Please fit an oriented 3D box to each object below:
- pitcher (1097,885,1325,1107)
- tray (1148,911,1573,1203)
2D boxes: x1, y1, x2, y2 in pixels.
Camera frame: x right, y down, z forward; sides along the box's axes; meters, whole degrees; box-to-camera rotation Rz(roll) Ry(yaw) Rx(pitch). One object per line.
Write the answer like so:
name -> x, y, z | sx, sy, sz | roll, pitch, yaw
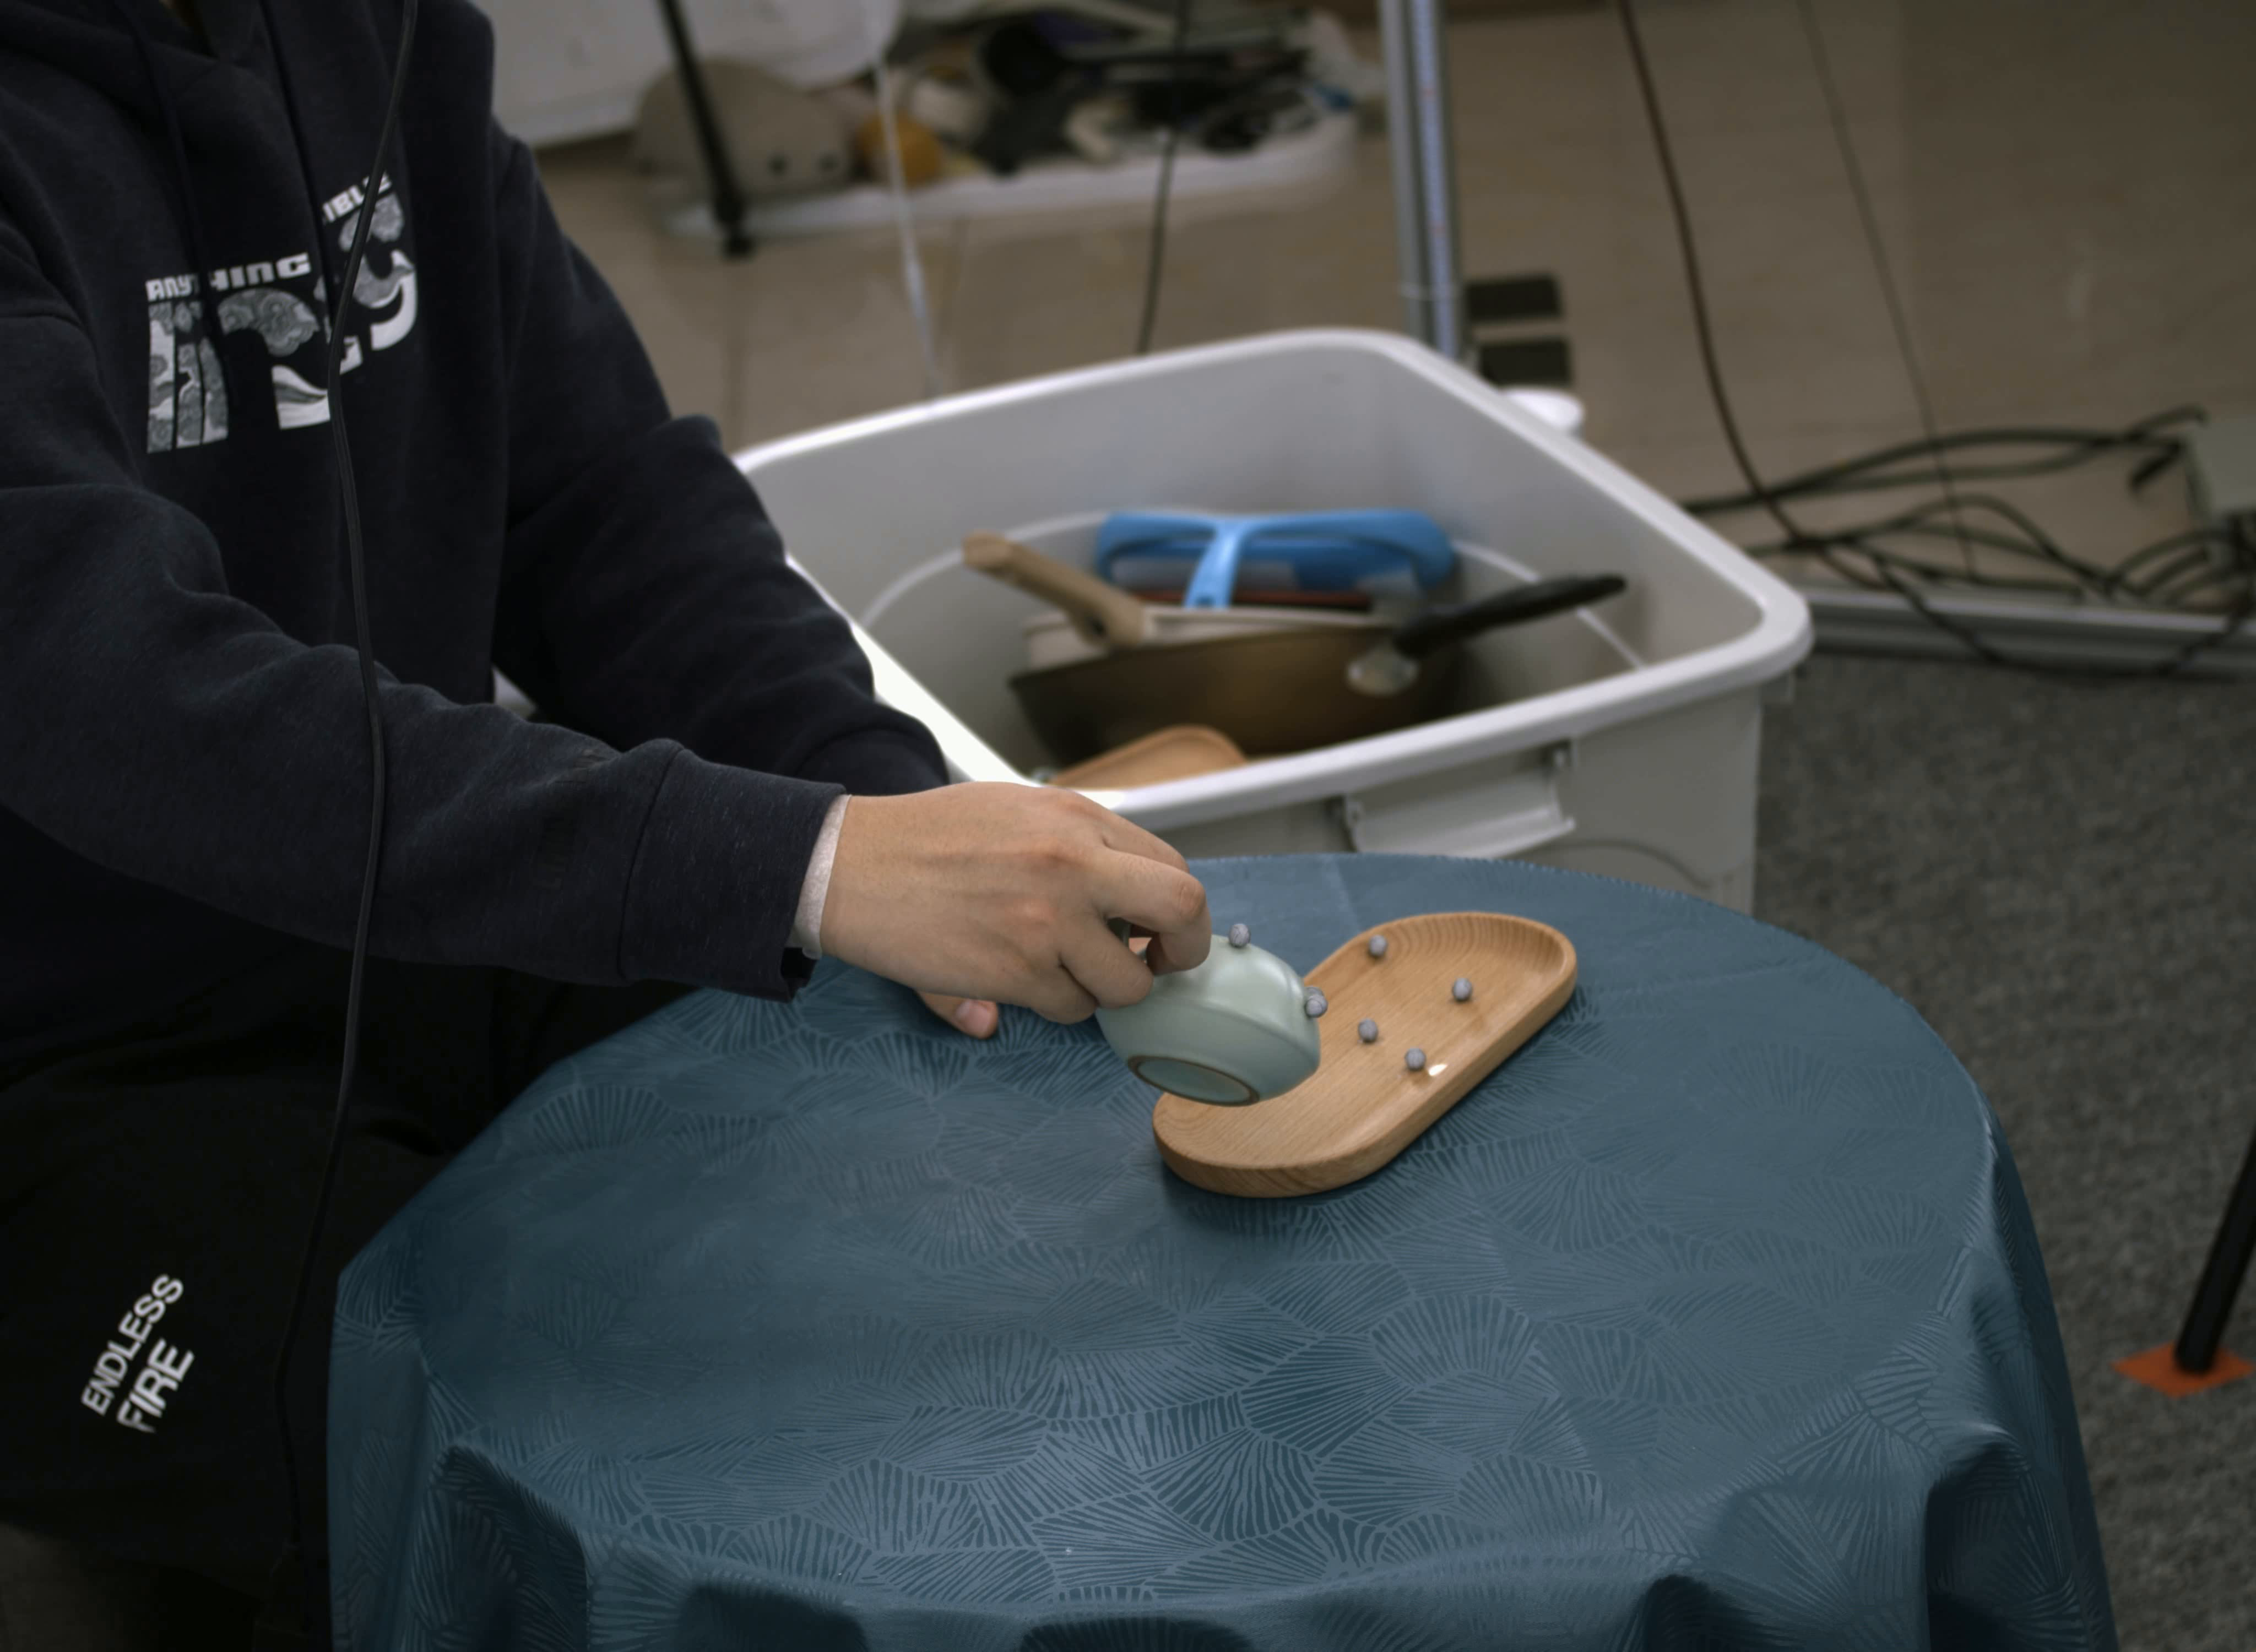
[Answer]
pitcher -> 0.026, 0.064, 2.084 | 0.086, 0.109, 0.060 | 1, 69, 37
tray -> 0.093, 0.089, 2.216 | 0.101, 0.020, 0.228 | 8, 30, 32
